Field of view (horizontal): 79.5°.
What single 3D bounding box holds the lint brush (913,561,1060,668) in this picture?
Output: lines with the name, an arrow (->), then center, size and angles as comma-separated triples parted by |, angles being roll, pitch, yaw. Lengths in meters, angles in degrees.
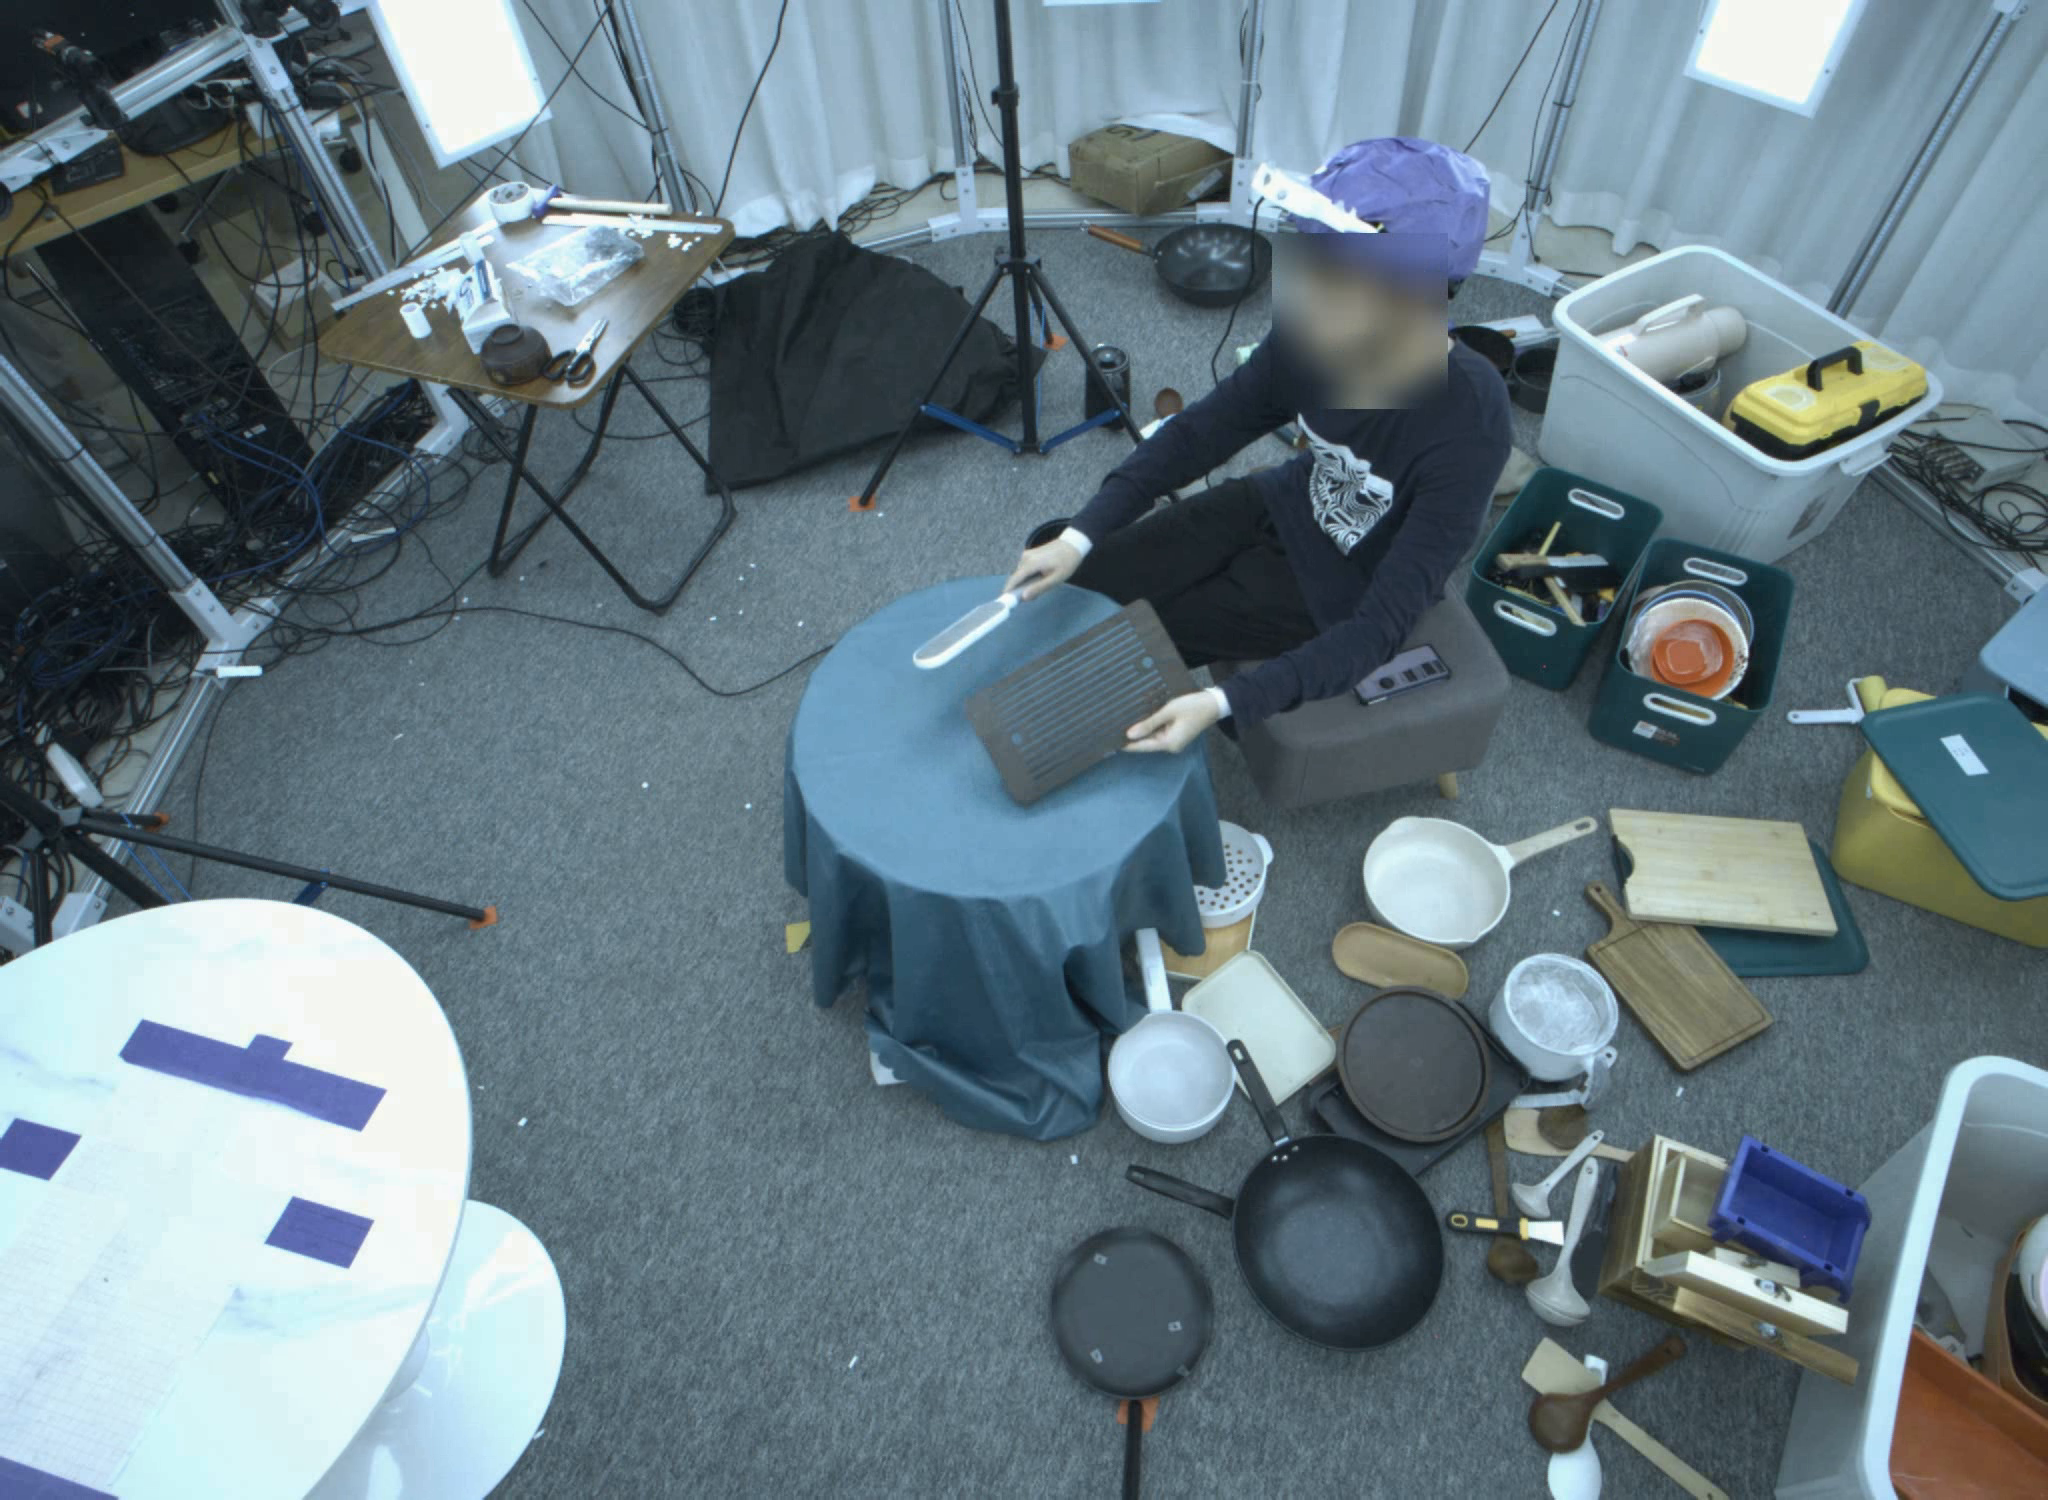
lint brush -> -0.050, -0.205, 1.830 | 0.058, 0.021, 0.311 | 11, 41, 45

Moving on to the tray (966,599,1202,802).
tray -> 0.086, -0.070, 1.739 | 0.307, 0.018, 0.170 | -30, 94, -6
